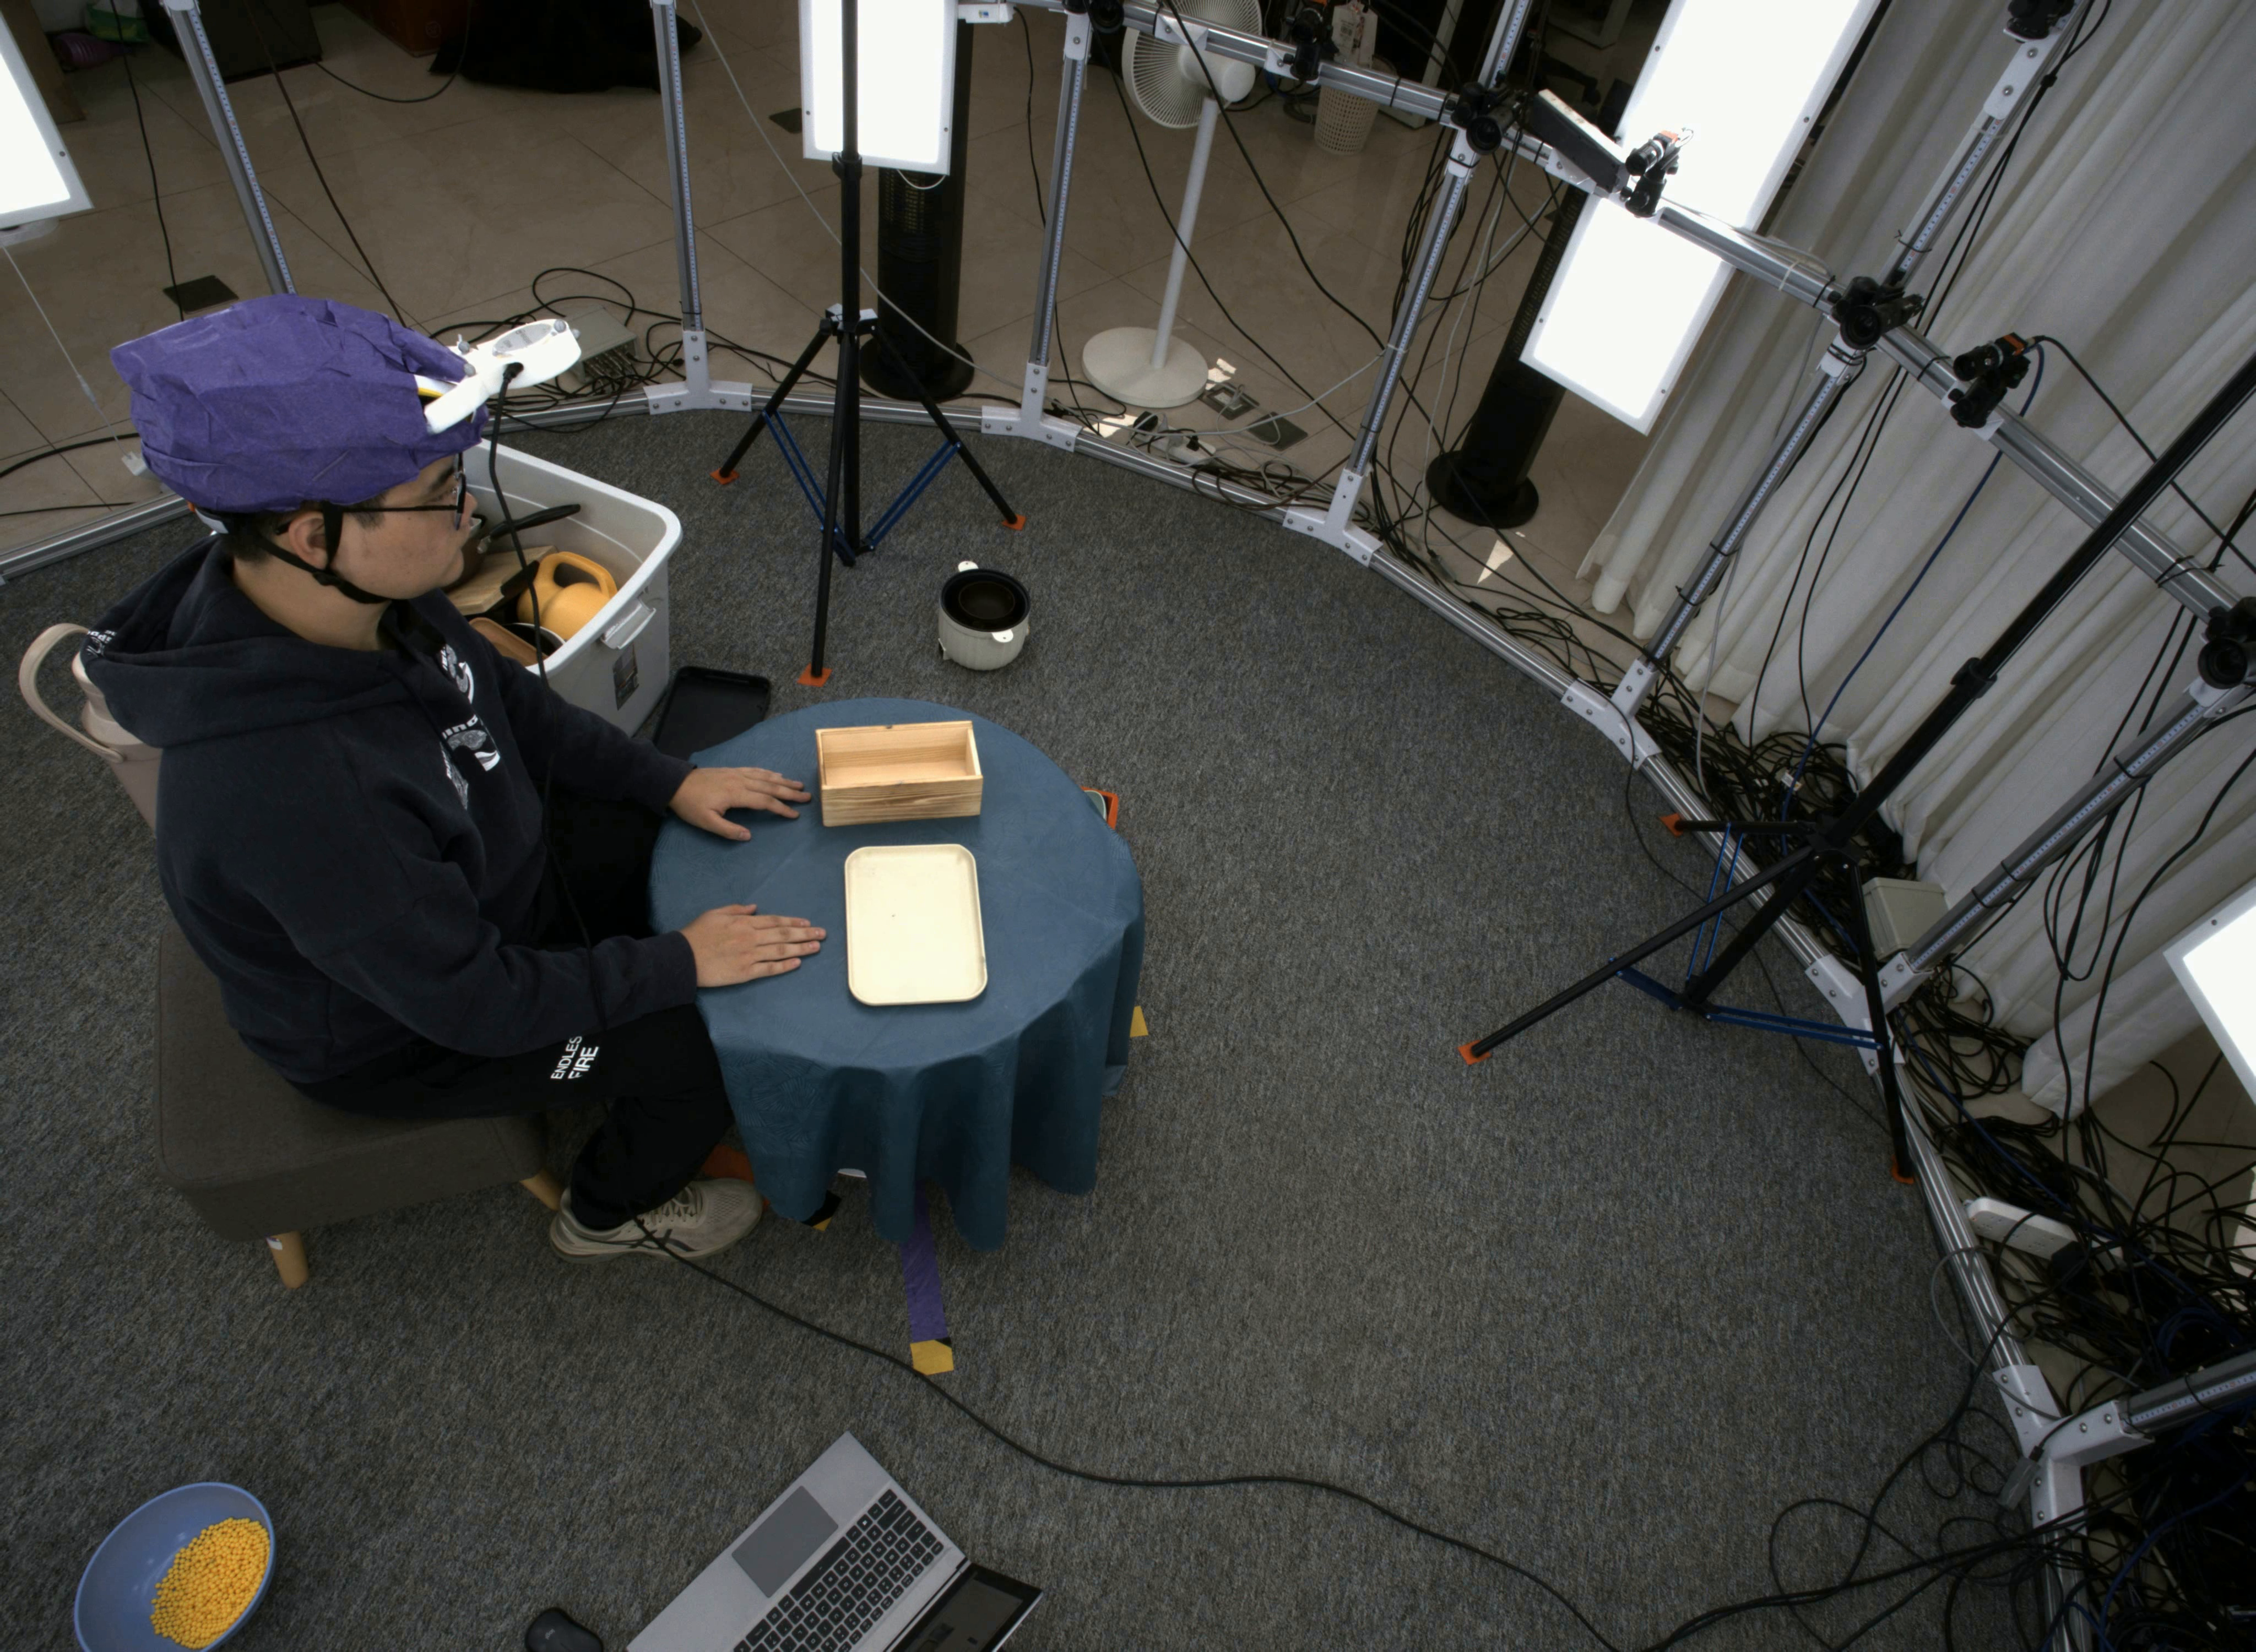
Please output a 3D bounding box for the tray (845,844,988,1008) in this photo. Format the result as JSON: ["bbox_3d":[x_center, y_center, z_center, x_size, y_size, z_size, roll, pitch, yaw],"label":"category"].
[{"bbox_3d":[-0.271,0.123,1.655,0.171,0.018,0.234,-1,54,-14],"label":"tray"}]

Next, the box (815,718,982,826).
[{"bbox_3d":[-0.310,-0.074,1.753,0.212,0.082,0.105,-5,54,-17],"label":"box"}]
